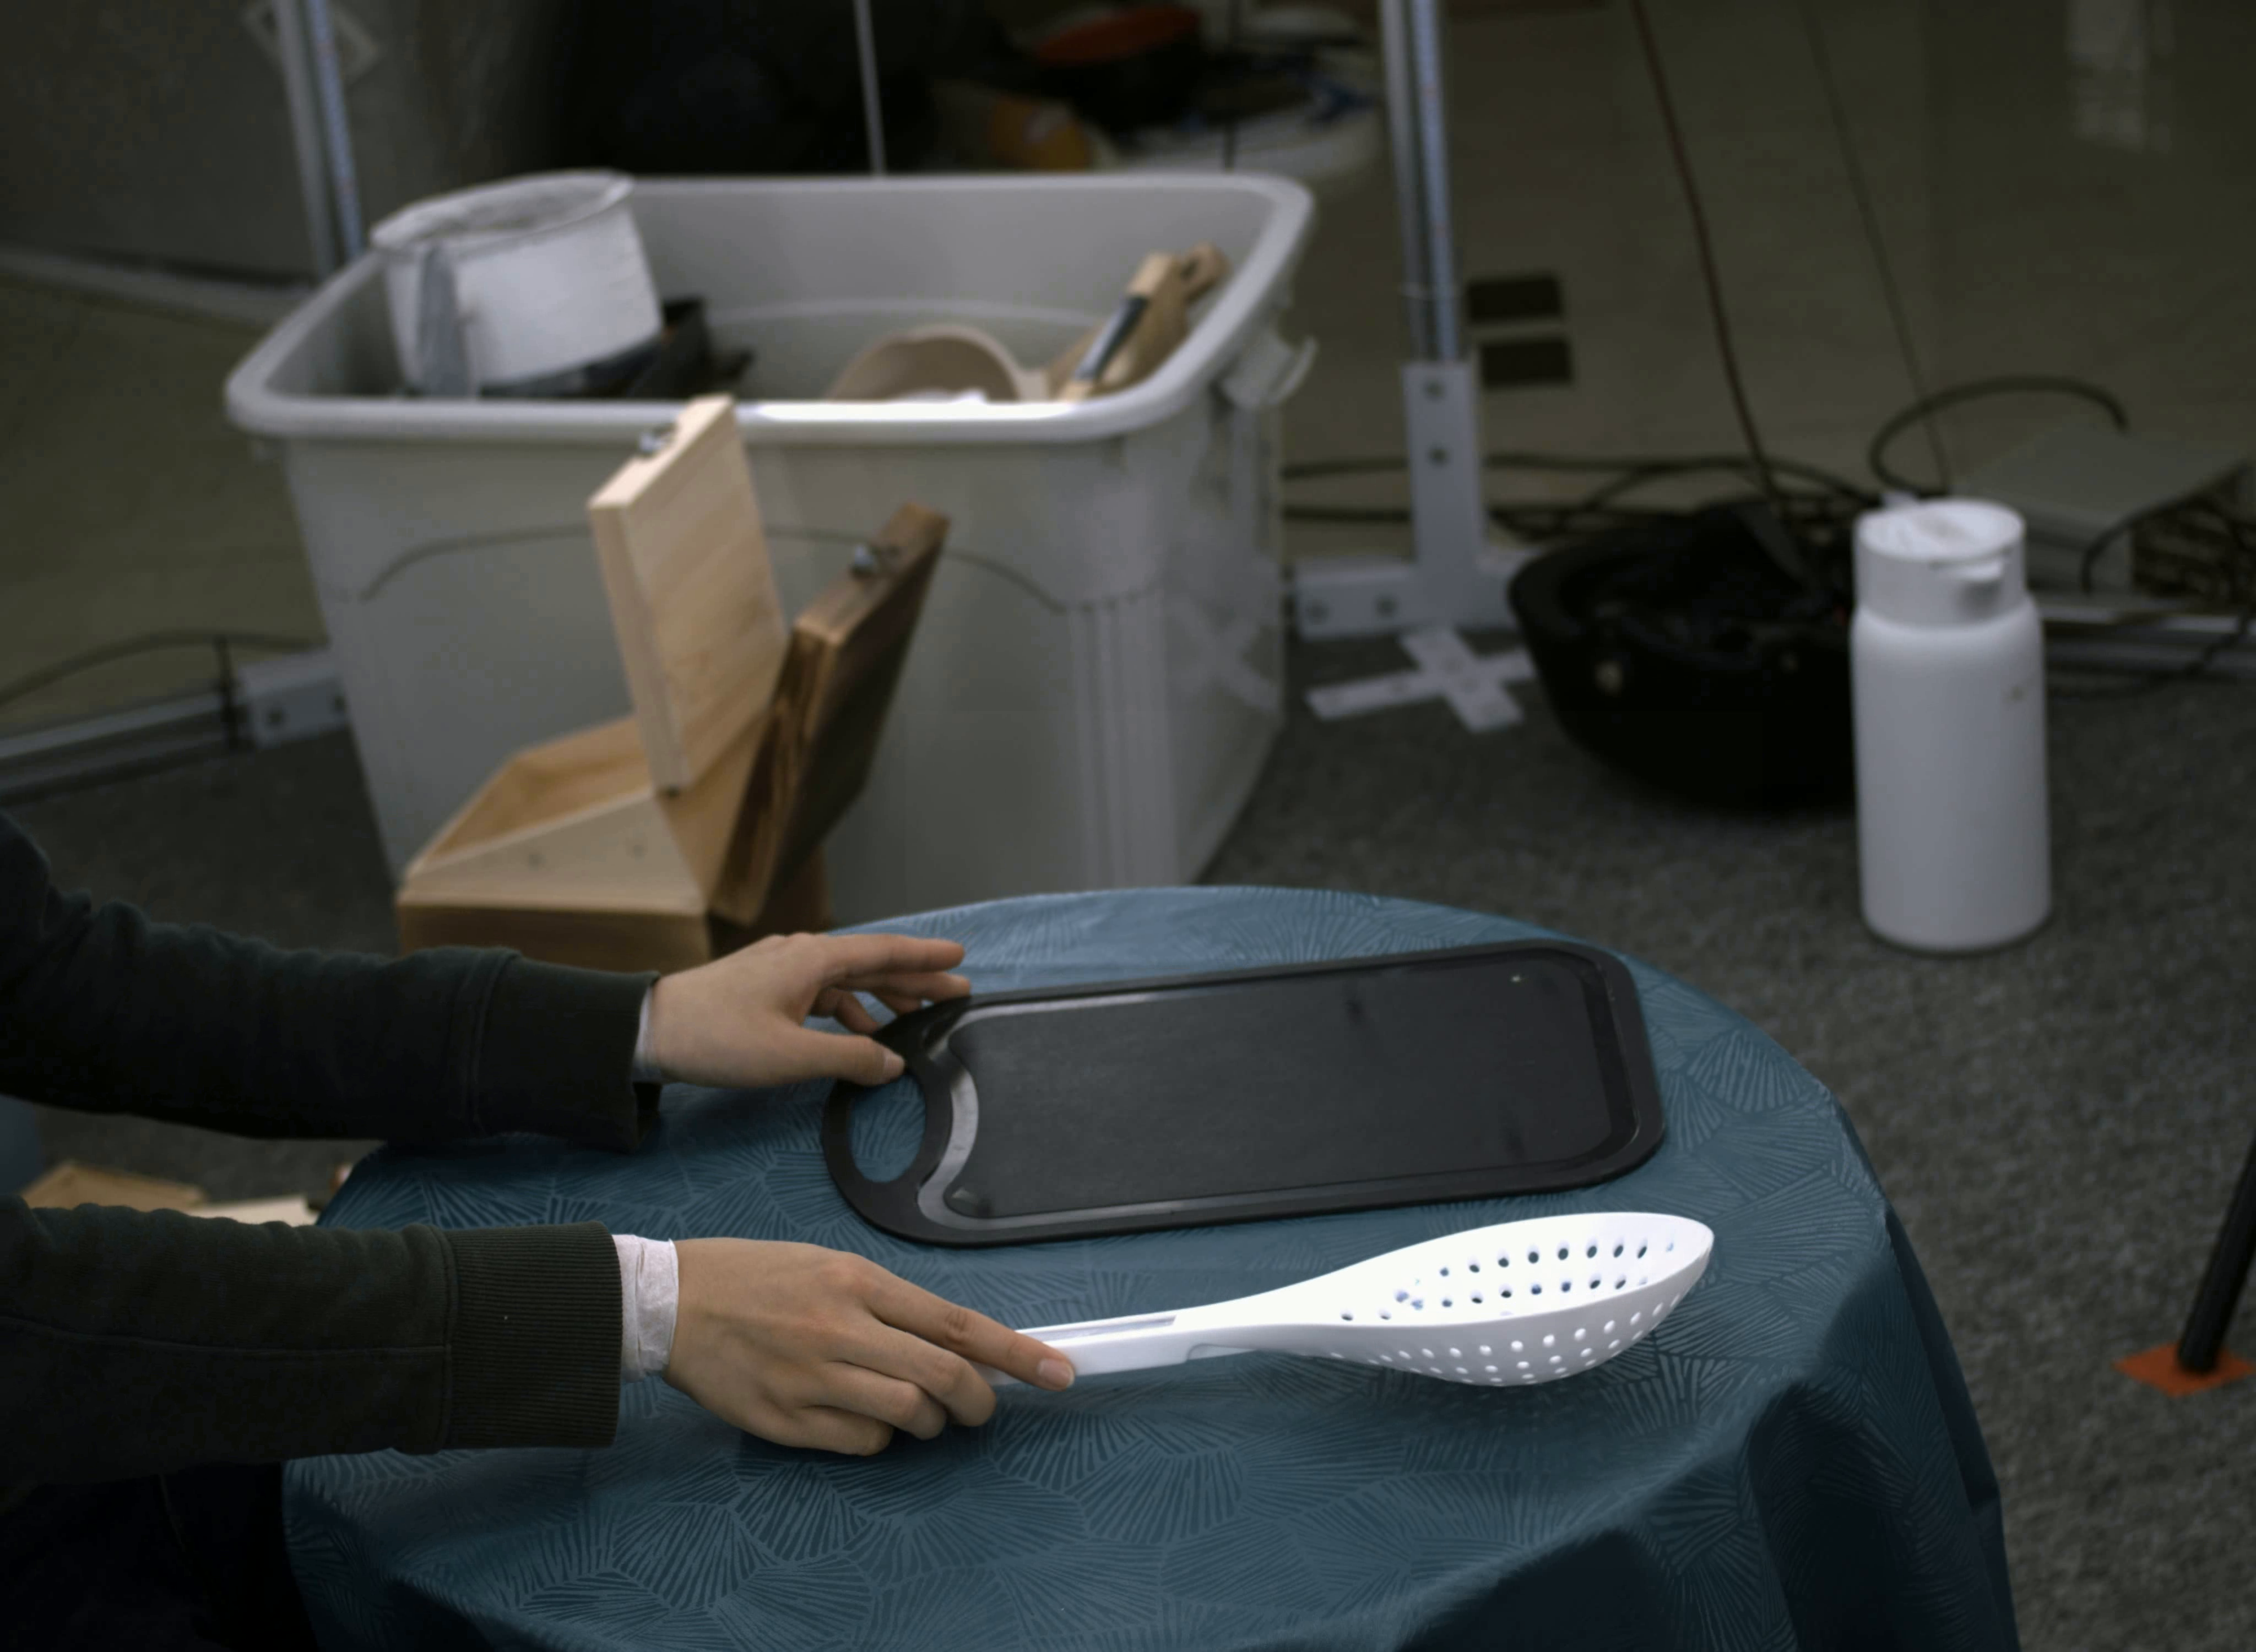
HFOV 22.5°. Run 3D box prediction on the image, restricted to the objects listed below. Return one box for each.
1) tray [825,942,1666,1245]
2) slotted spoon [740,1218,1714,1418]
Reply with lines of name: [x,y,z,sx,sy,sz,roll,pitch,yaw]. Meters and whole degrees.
tray: [0.043,0.102,2.213,0.325,0.010,0.208,-6,25,2]
slotted spoon: [0.033,0.177,2.004,0.349,0.046,0.135,-4,8,8]
